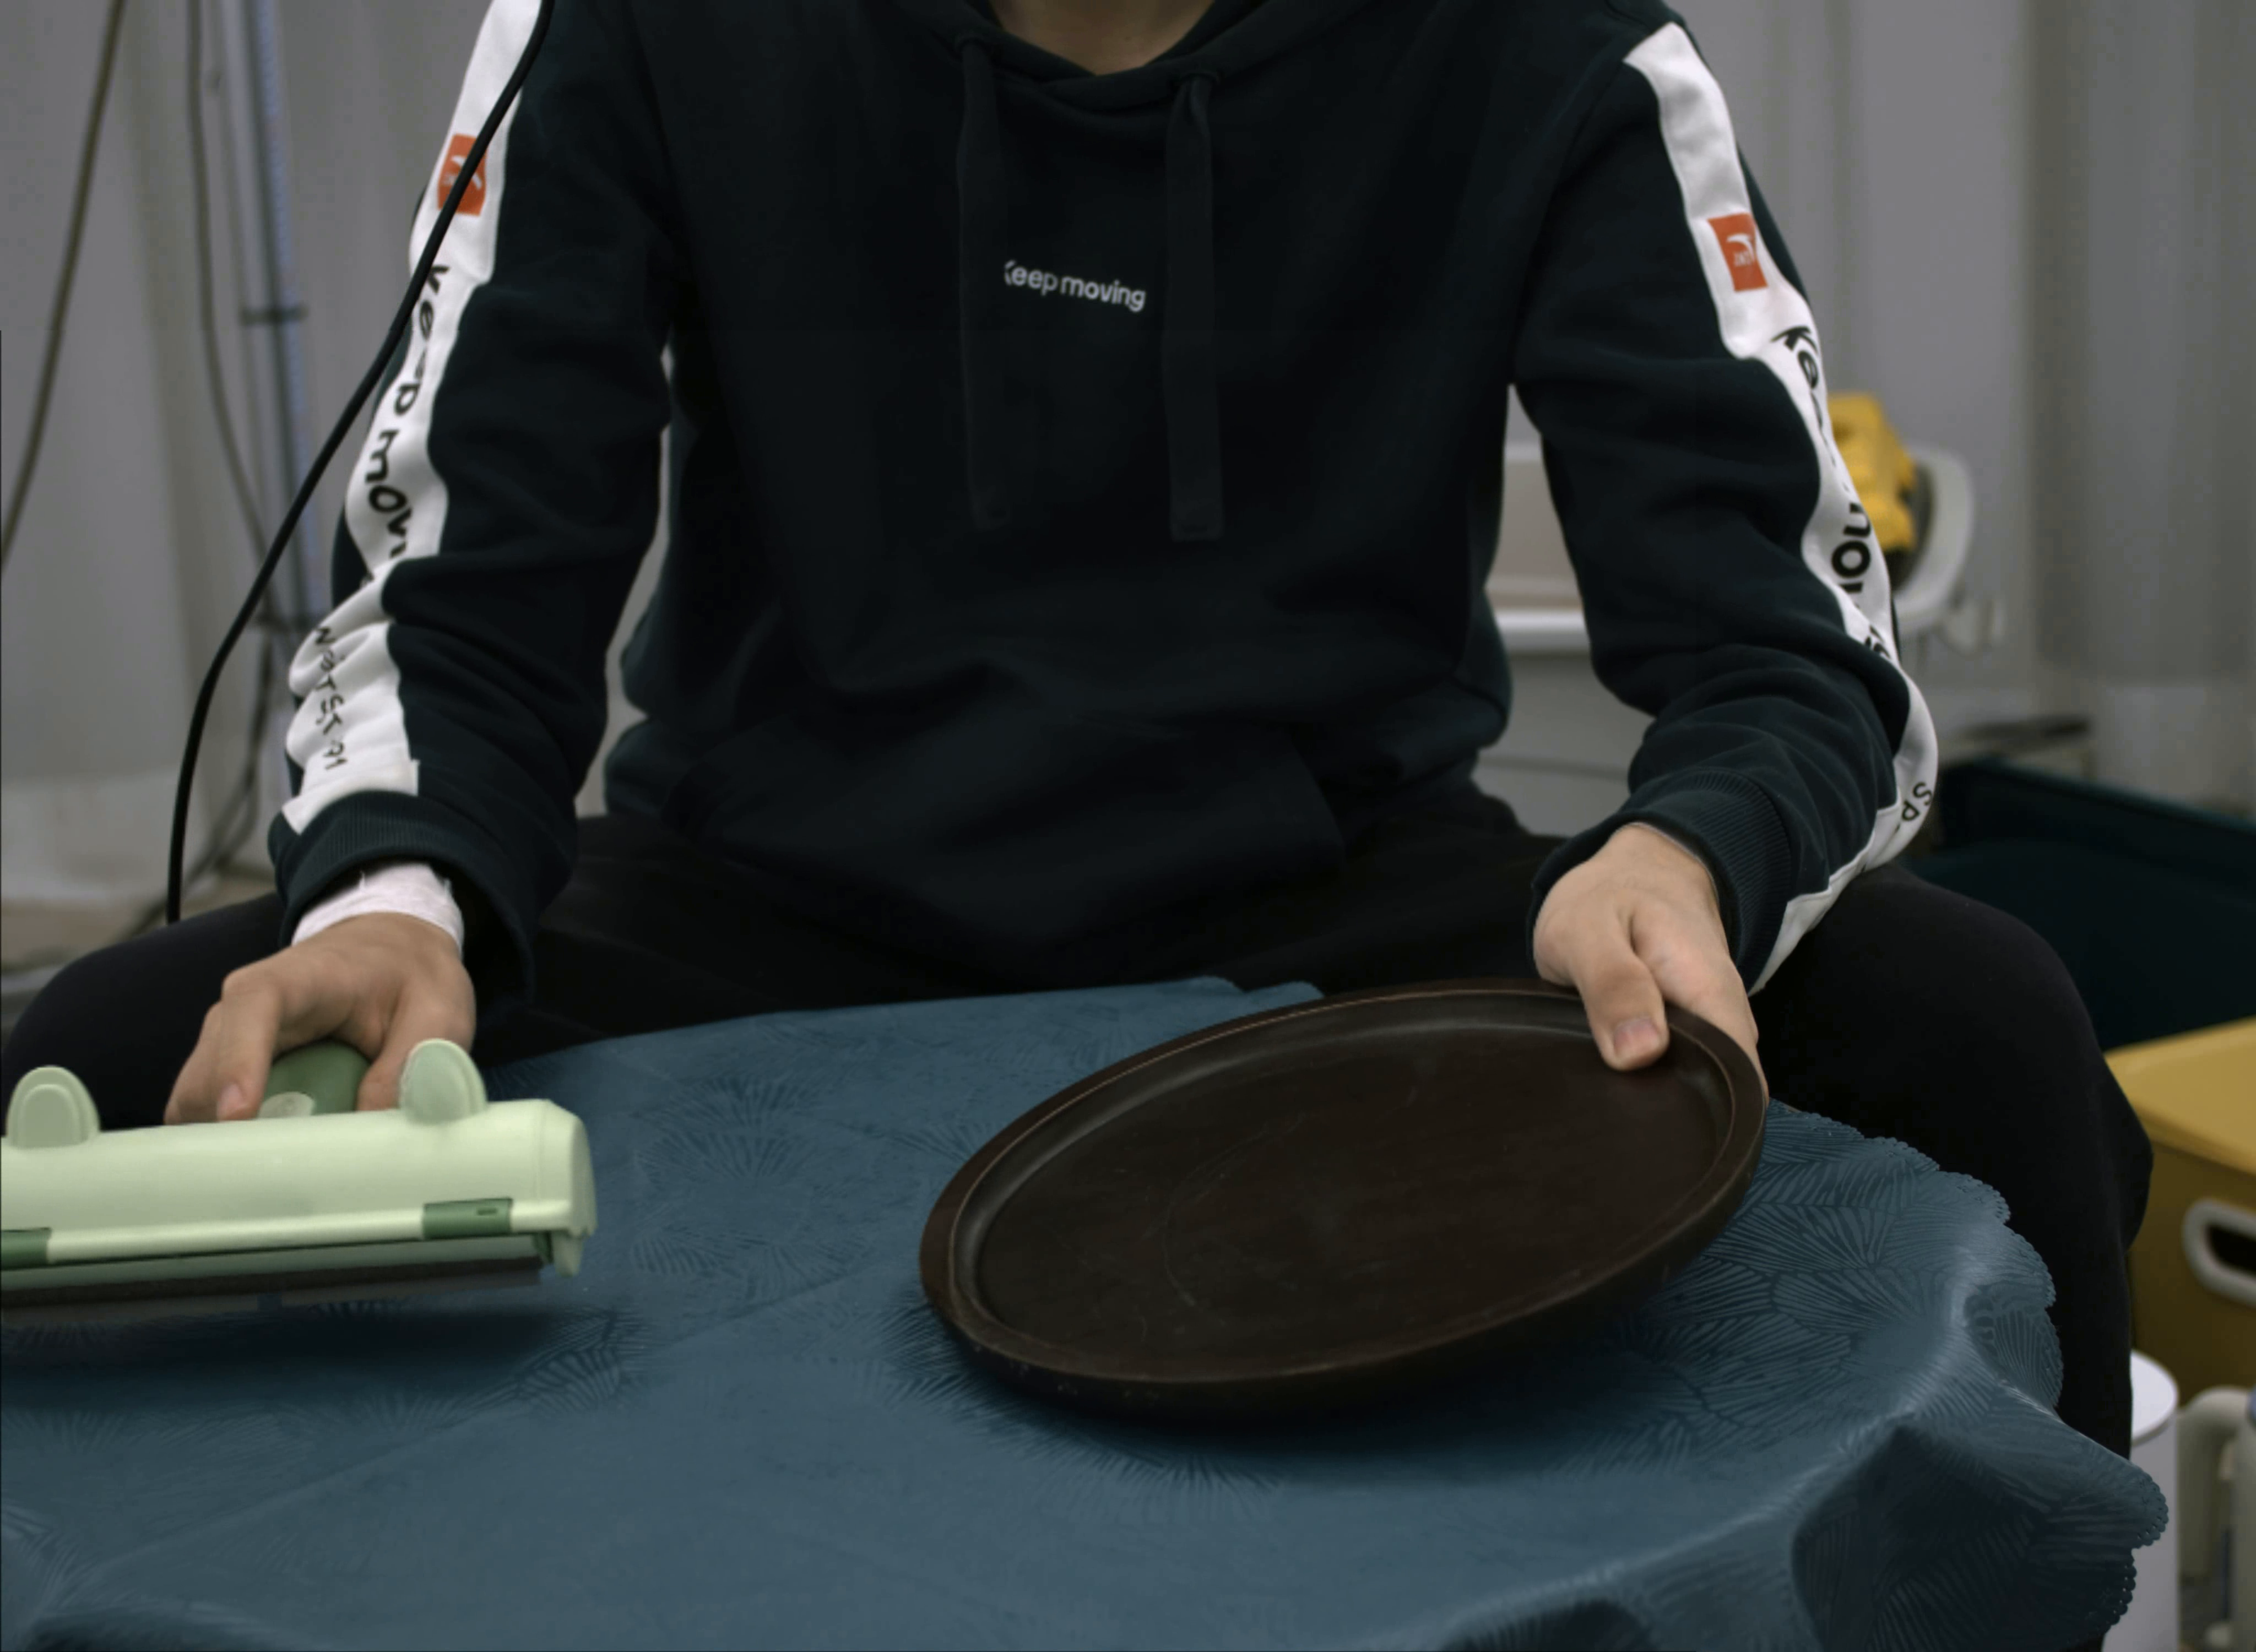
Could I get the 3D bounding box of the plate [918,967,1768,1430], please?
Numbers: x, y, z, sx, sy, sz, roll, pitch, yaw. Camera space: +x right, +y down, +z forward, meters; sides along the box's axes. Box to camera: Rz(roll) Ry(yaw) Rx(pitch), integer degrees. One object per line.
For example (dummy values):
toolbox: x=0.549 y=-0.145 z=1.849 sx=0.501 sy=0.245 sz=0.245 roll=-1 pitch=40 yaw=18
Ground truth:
plate: x=0.063 y=0.108 z=1.595 sx=0.254 sy=0.029 sz=0.257 roll=-13 pitch=21 yaw=5

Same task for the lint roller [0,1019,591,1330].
lint roller: x=-0.259 y=0.083 z=1.664 sx=0.198 sy=0.081 sz=0.185 roll=-5 pitch=26 yaw=3
